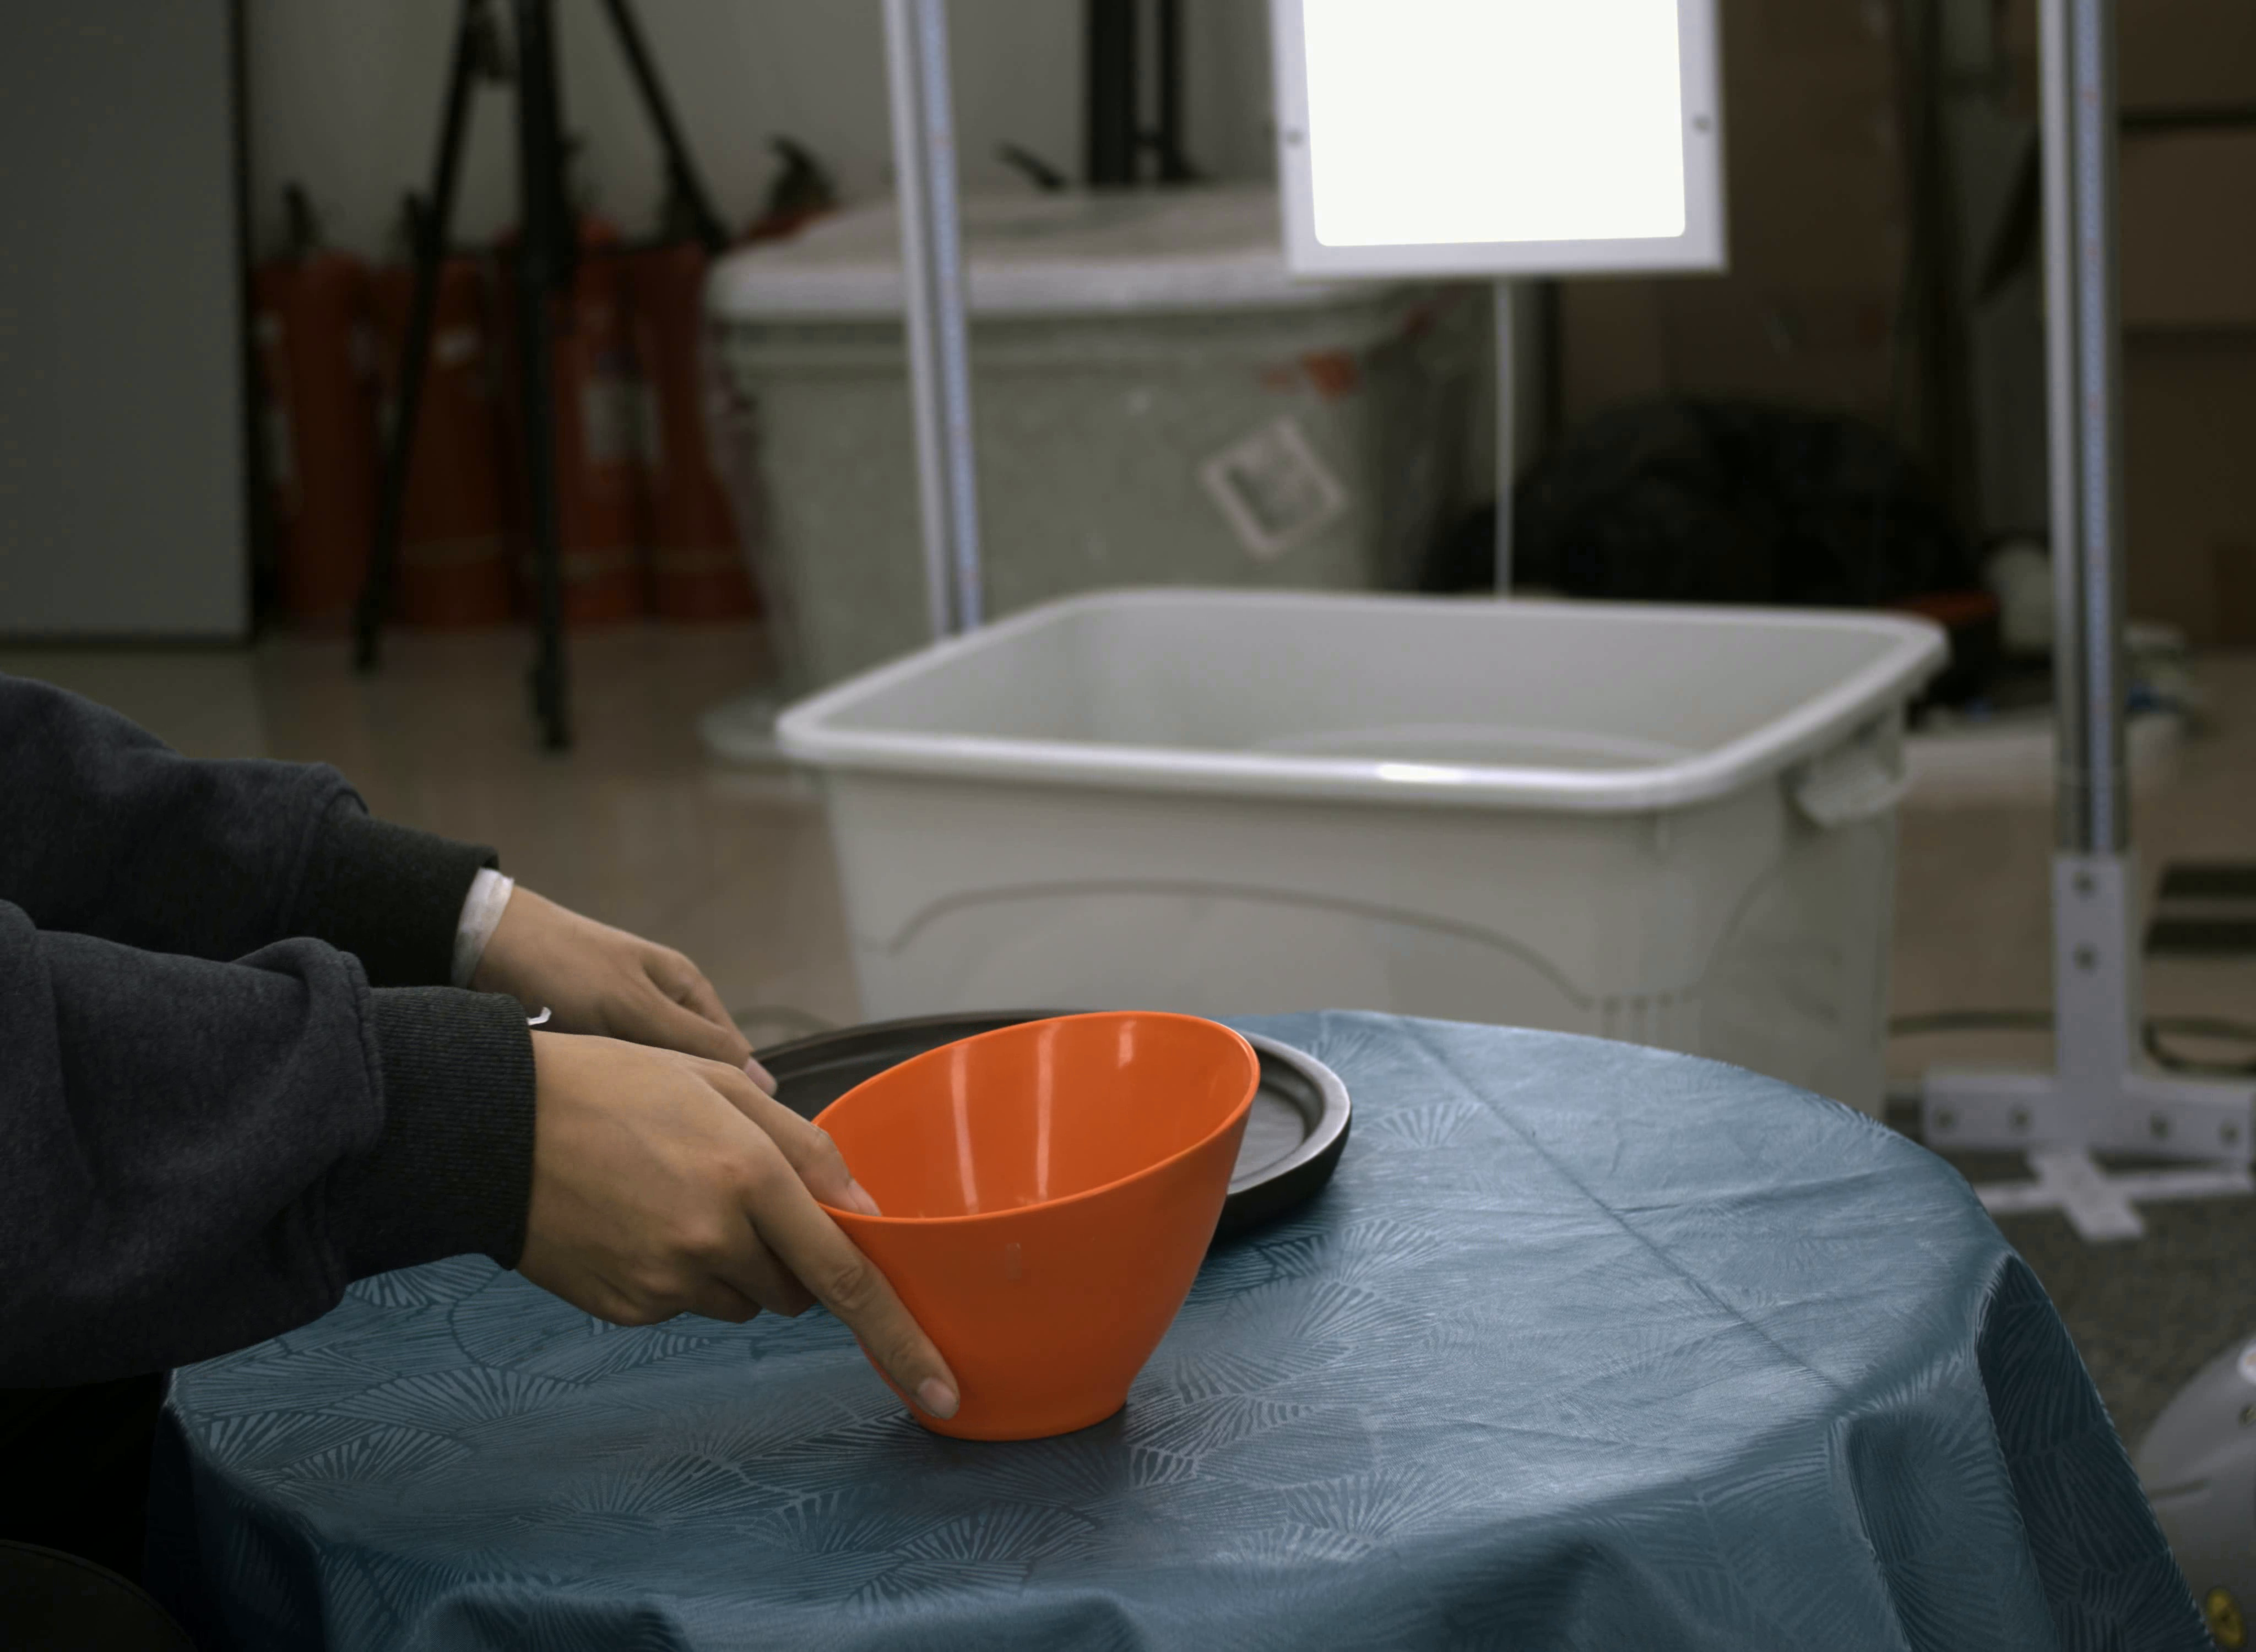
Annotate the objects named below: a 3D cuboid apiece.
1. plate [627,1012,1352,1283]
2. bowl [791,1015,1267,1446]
[{"bbox_3d":[-0.048,0.111,1.915,0.254,0.029,0.254,-4,16,0],"label":"plate"},{"bbox_3d":[-0.027,0.127,1.690,0.147,0.105,0.148,-4,15,0],"label":"bowl"}]
